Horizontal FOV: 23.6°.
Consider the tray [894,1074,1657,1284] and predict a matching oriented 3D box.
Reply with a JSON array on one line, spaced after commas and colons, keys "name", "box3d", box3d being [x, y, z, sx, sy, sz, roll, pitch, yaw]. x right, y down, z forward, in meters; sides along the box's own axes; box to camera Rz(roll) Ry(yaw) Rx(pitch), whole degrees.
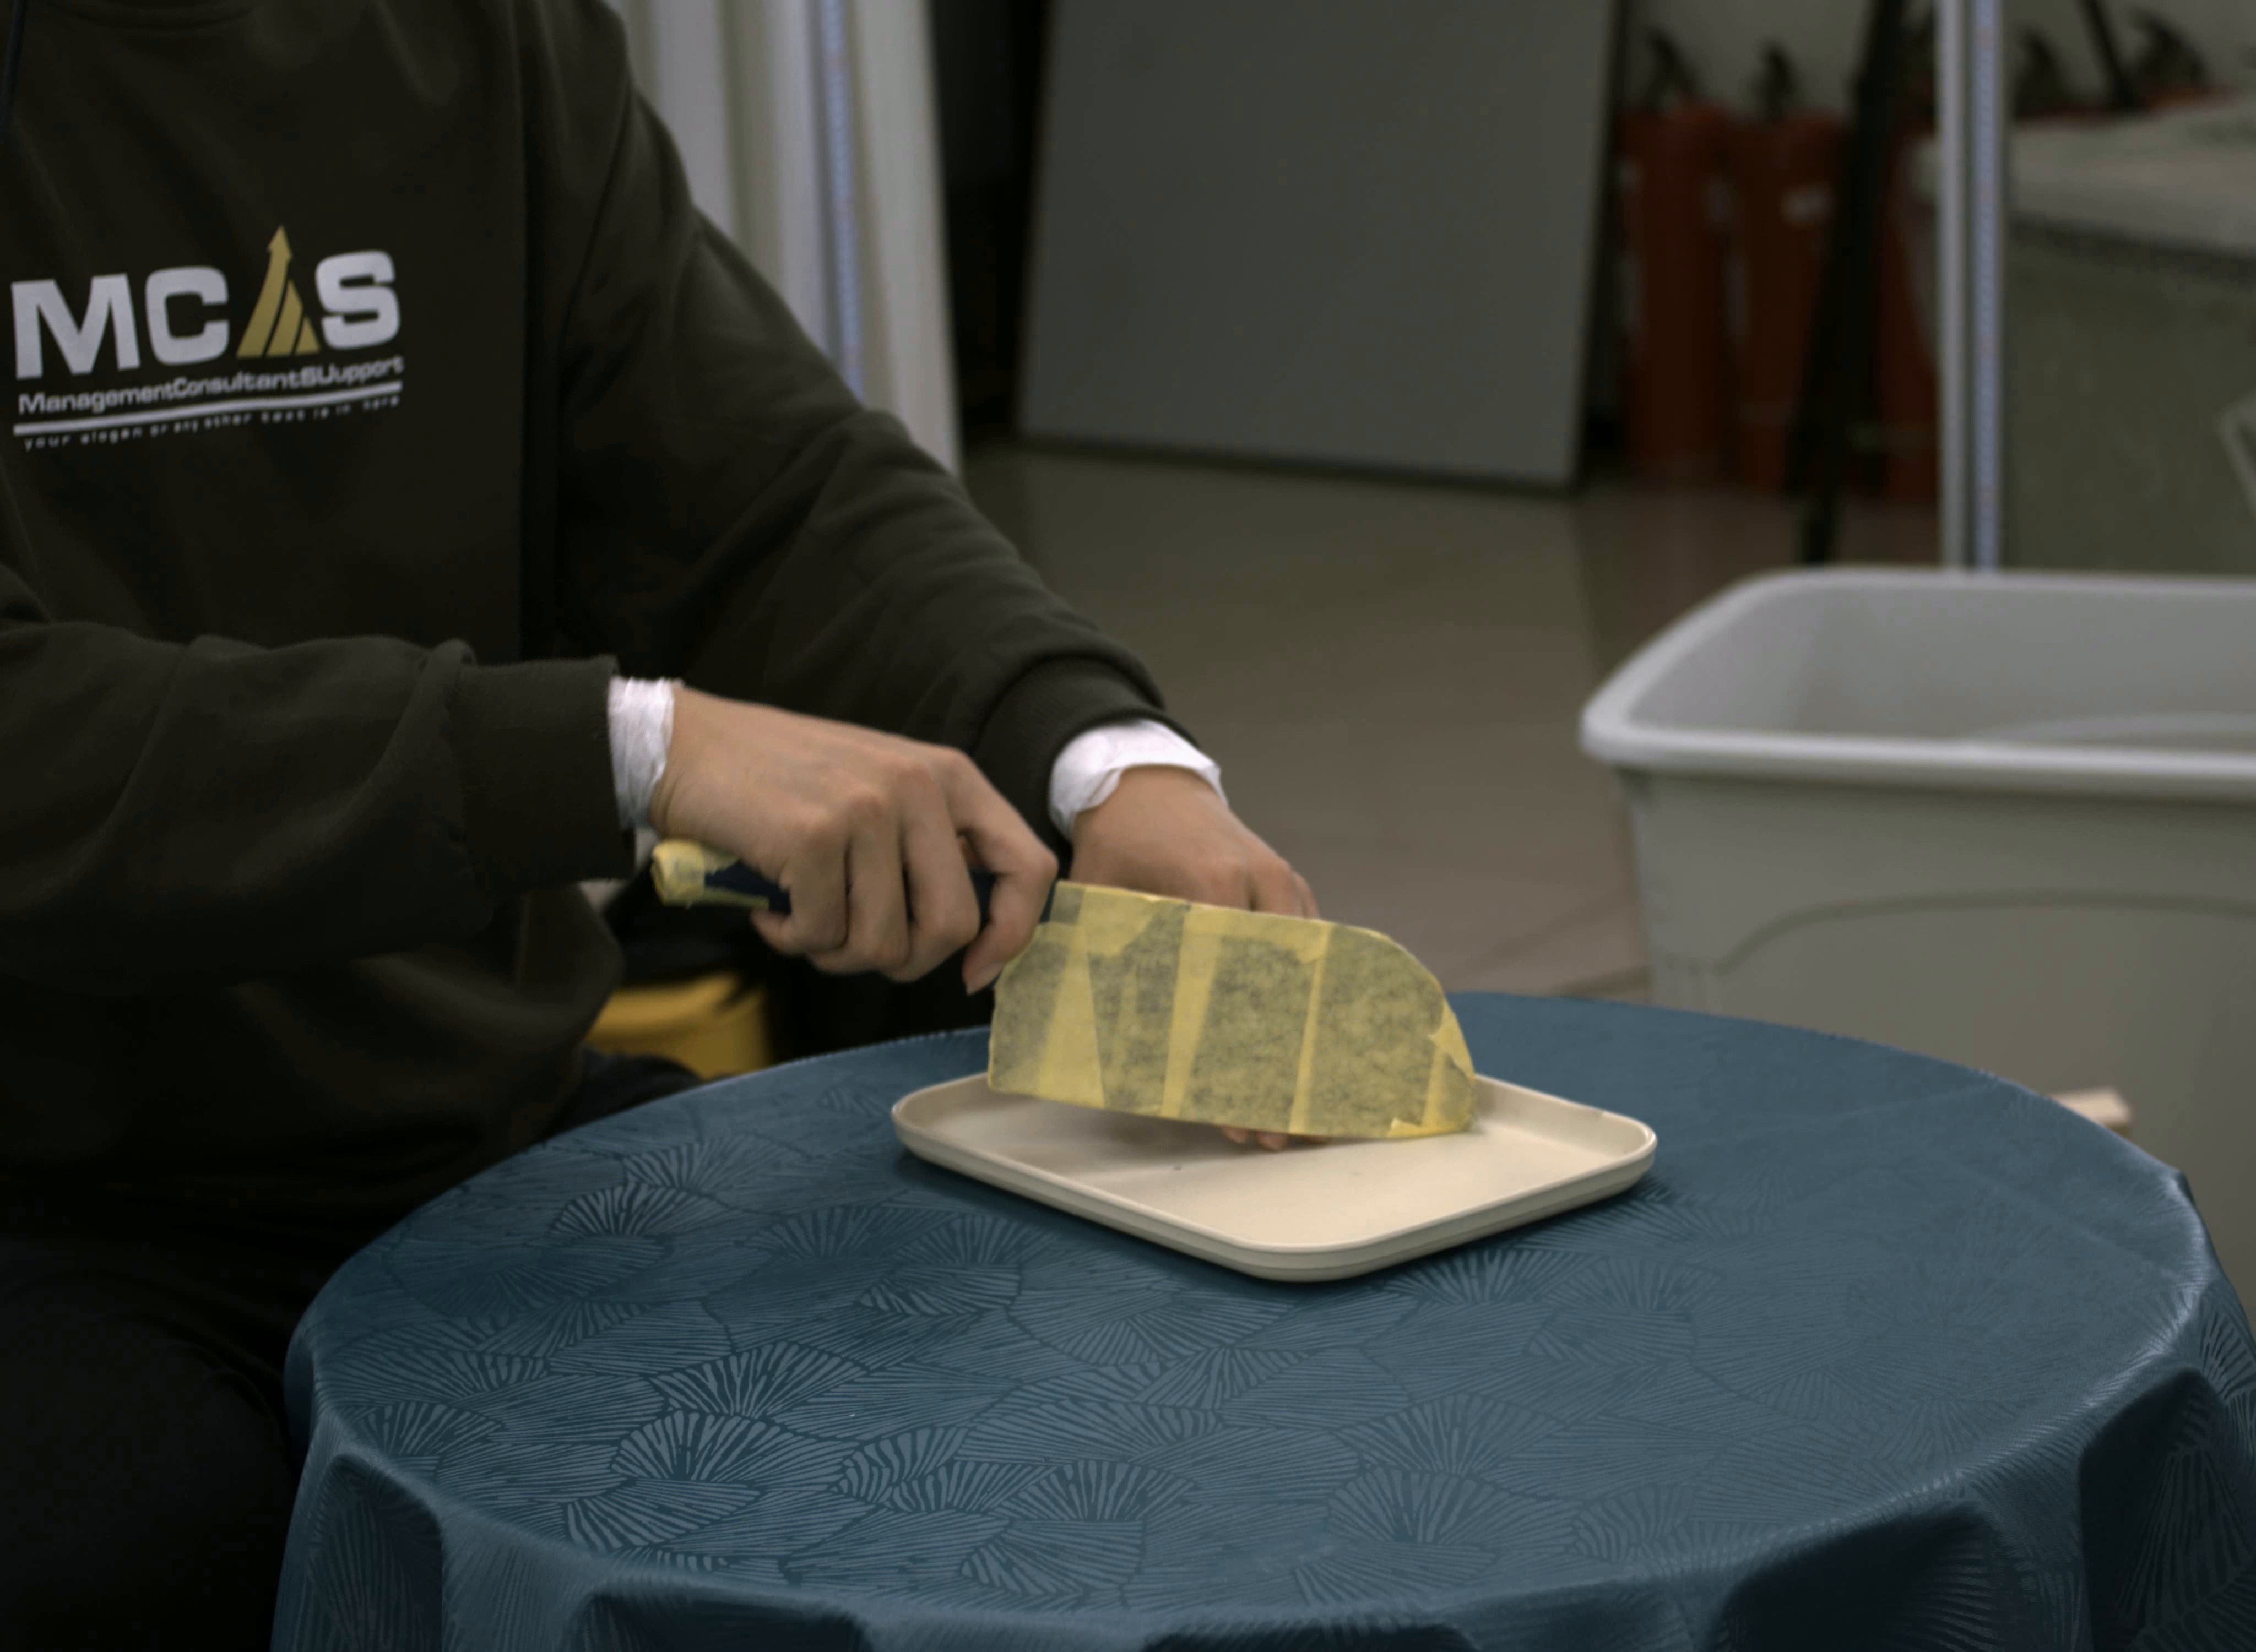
[{"name": "tray", "box3d": [0.047, 0.107, 1.784, 0.167, 0.017, 0.242, -14, 16, -35]}]

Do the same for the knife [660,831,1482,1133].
[{"name": "knife", "box3d": [-0.018, 0.051, 1.779, 0.285, 0.082, 0.027, 13, -5, -9]}]
